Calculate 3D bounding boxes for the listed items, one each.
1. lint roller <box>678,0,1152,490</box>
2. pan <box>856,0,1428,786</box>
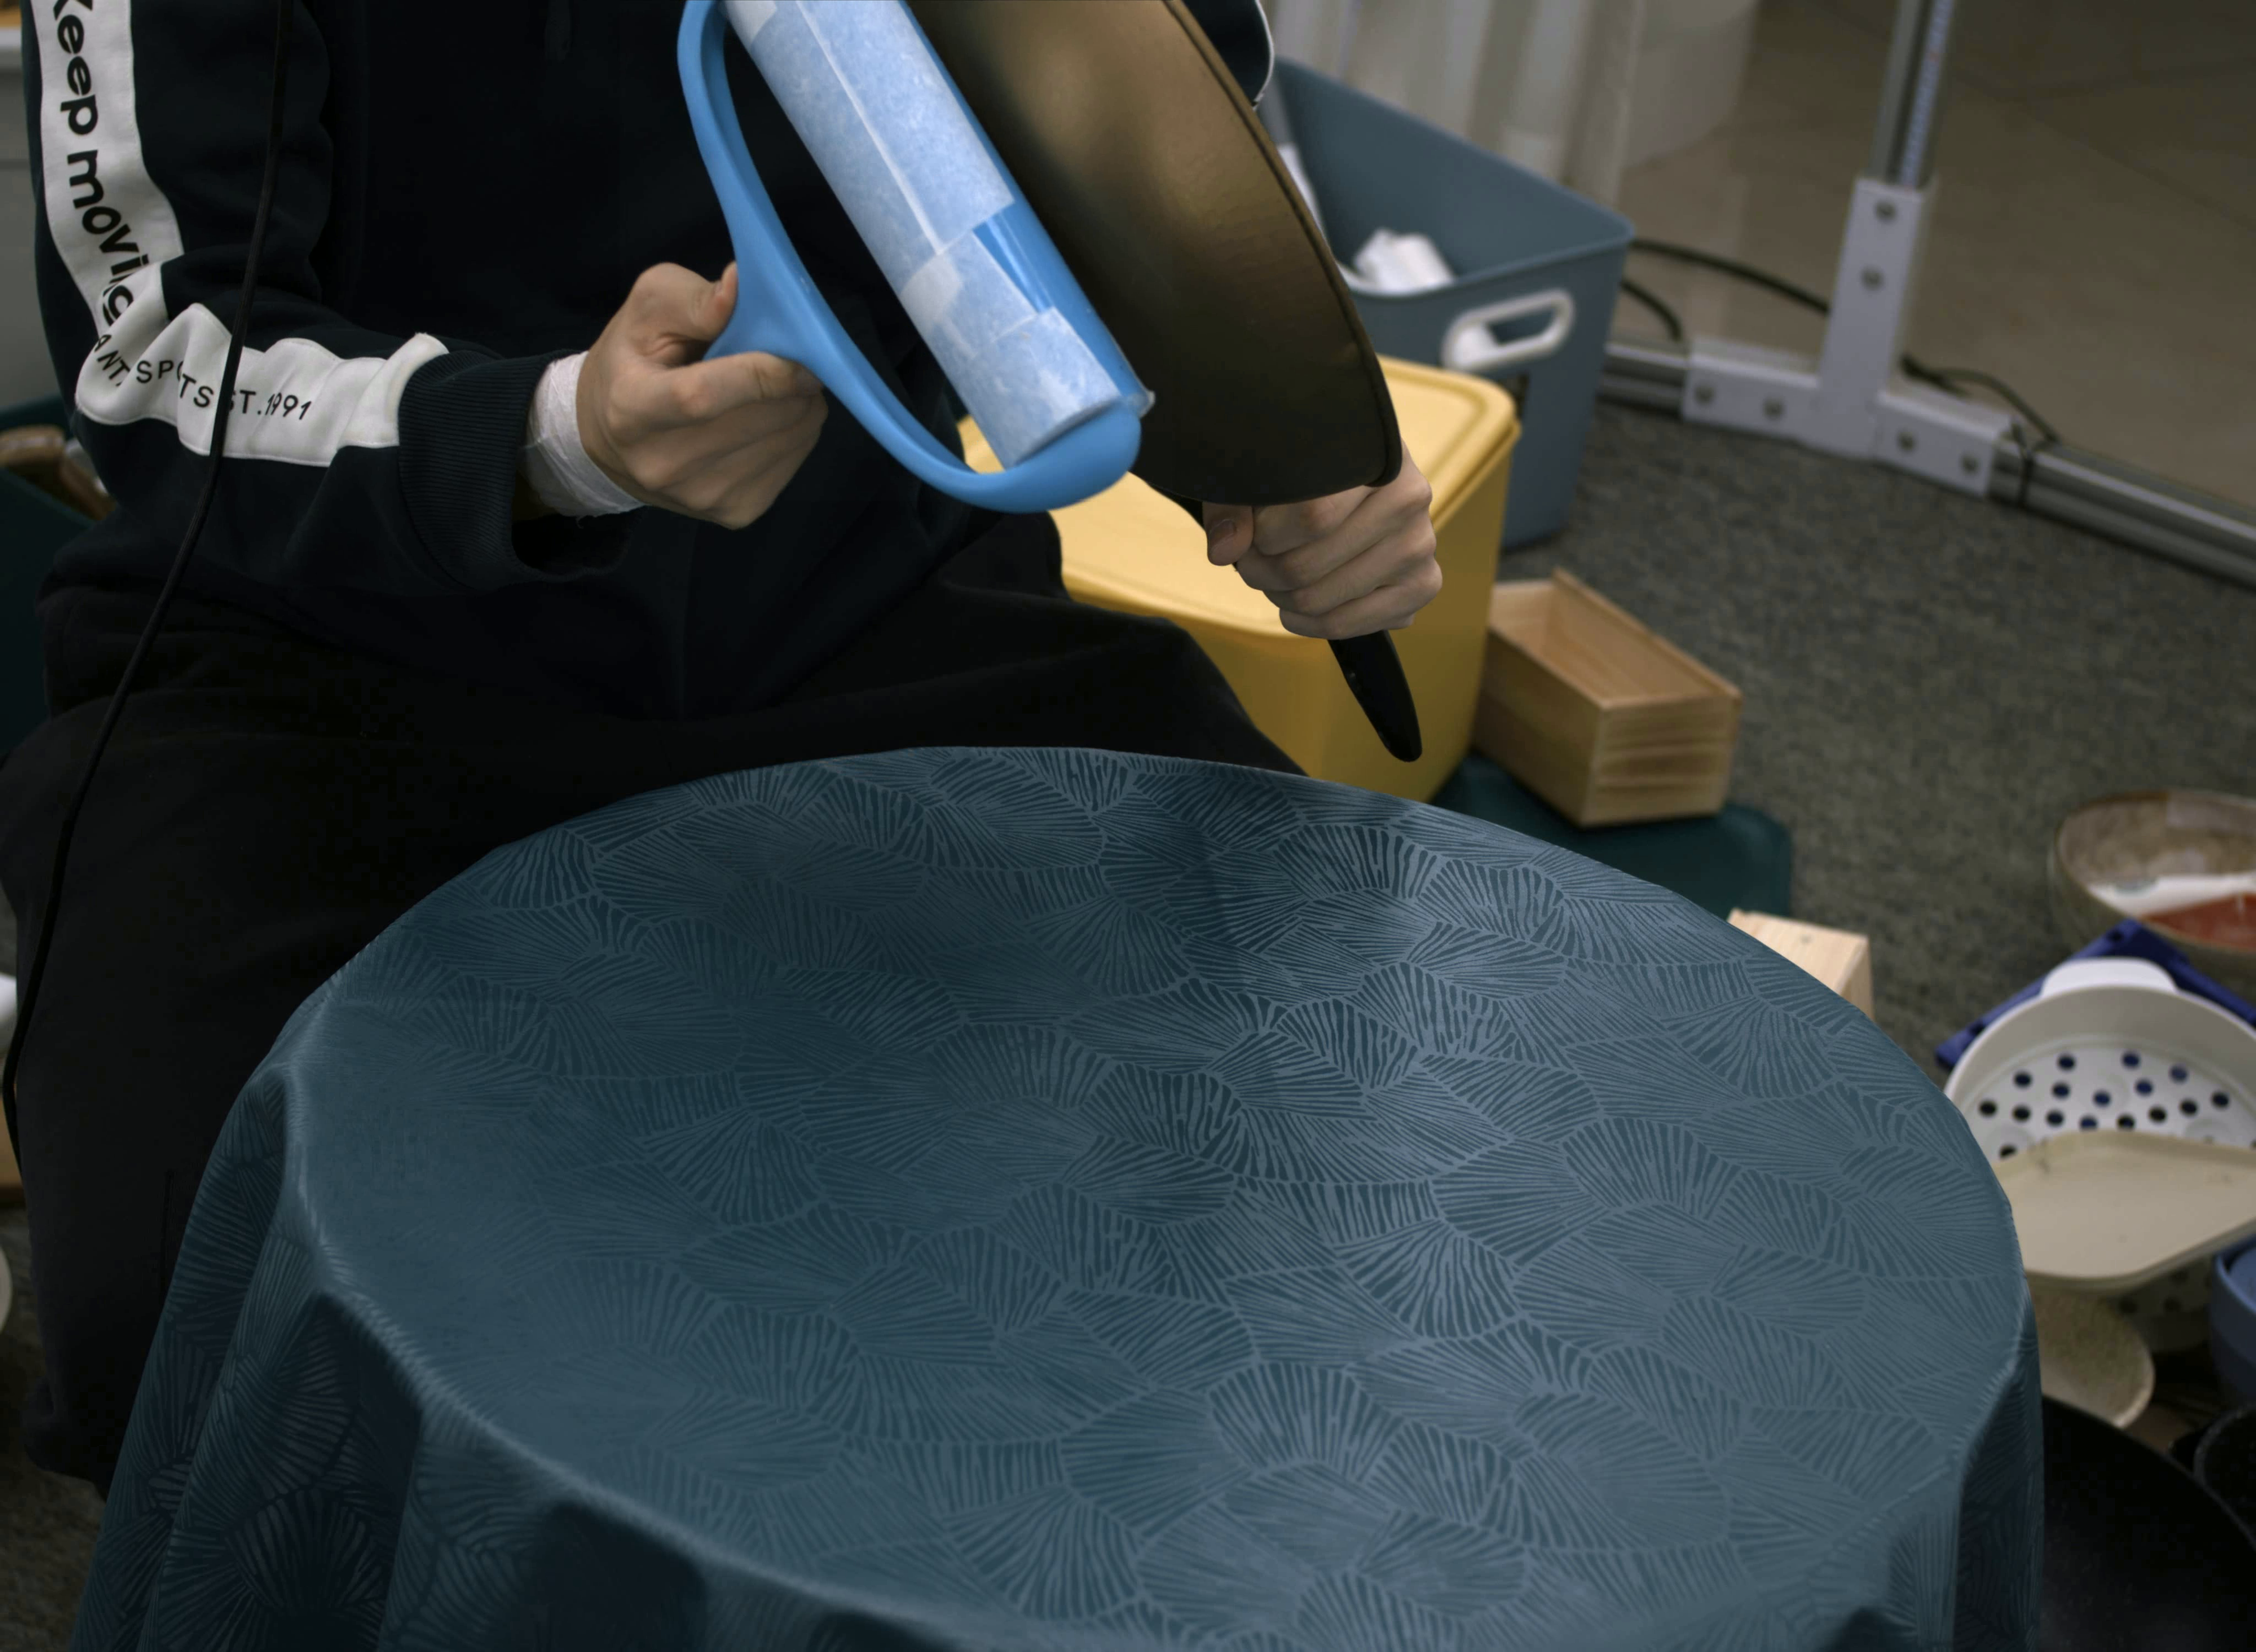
[{"bbox_3d":[-0.101,-0.179,1.800,0.067,0.180,0.230,-17,68,-53],"label":"lint roller"},{"bbox_3d":[0.010,-0.159,1.932,0.087,0.459,0.291,-33,45,-8],"label":"pan"}]
